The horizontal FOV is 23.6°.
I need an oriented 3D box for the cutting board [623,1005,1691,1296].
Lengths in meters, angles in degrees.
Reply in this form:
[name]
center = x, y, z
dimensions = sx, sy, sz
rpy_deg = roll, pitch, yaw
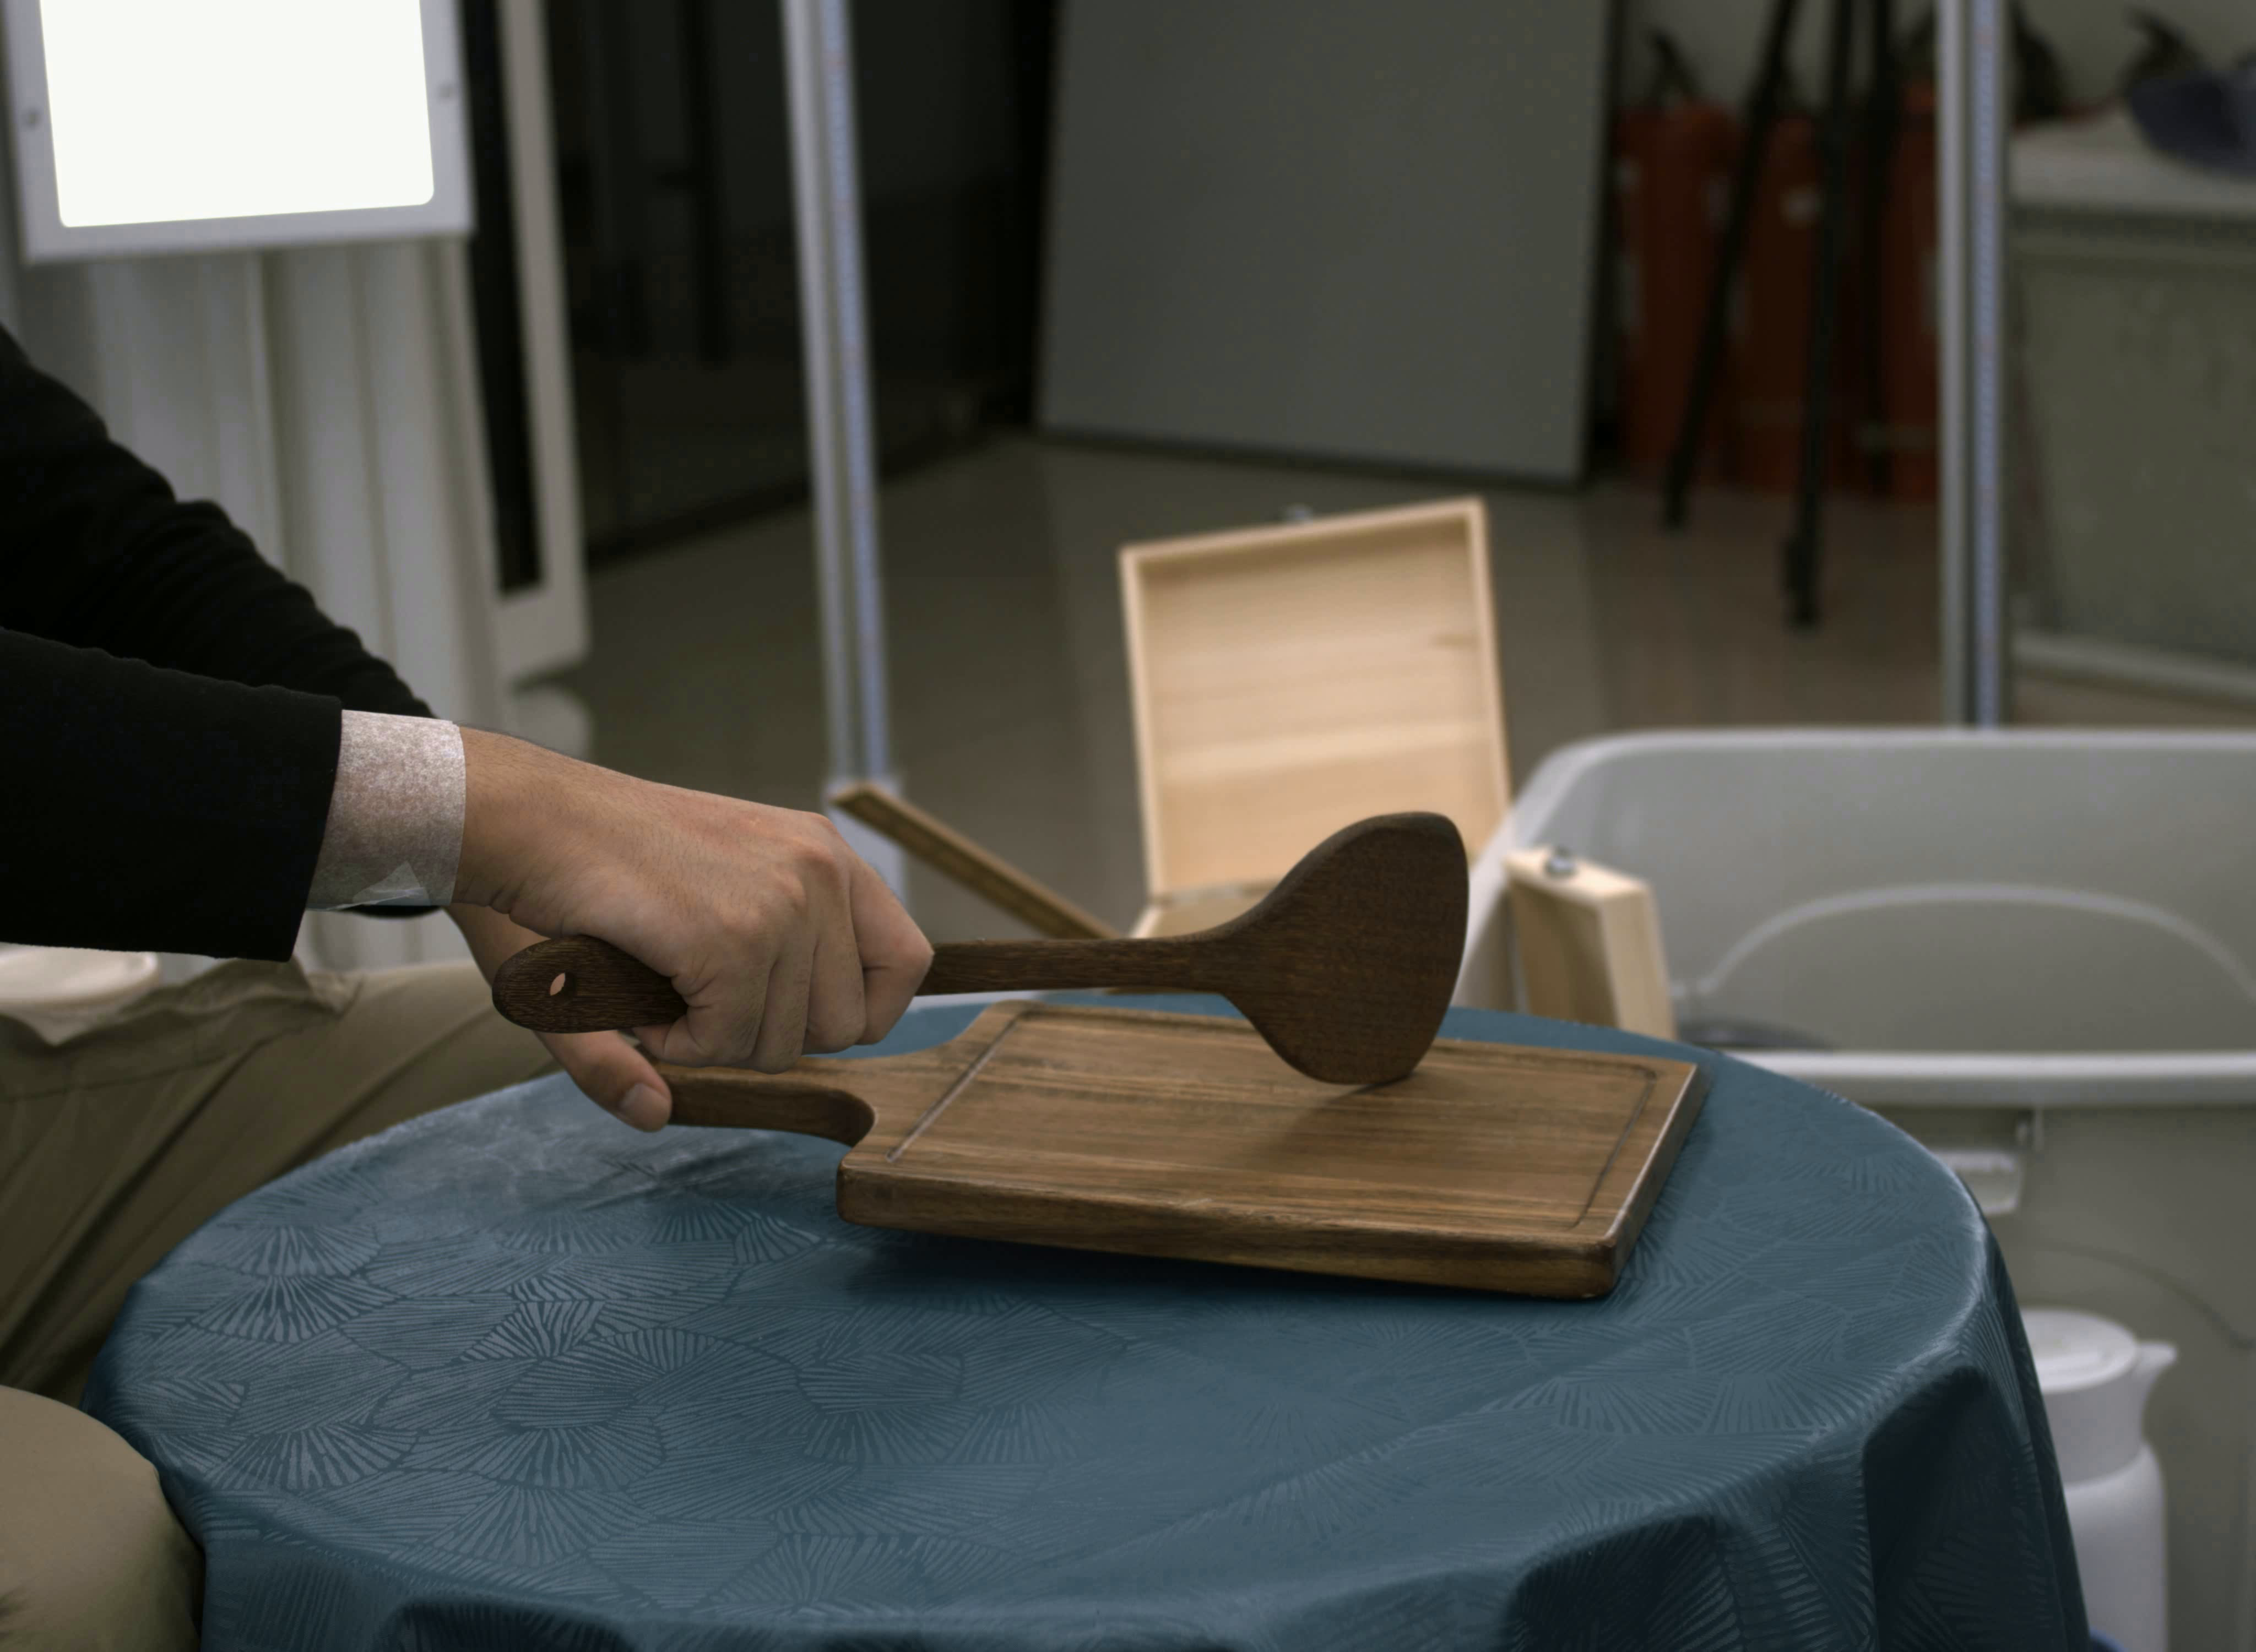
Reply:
[cutting board]
center = 0.002, 0.099, 1.763
dimensions = 0.350, 0.023, 0.199
rpy_deg = 4, 15, 15

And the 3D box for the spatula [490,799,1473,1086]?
[spatula]
center = -0.036, 0.040, 1.683
dimensions = 0.377, 0.097, 0.016
rpy_deg = 0, 14, -37
